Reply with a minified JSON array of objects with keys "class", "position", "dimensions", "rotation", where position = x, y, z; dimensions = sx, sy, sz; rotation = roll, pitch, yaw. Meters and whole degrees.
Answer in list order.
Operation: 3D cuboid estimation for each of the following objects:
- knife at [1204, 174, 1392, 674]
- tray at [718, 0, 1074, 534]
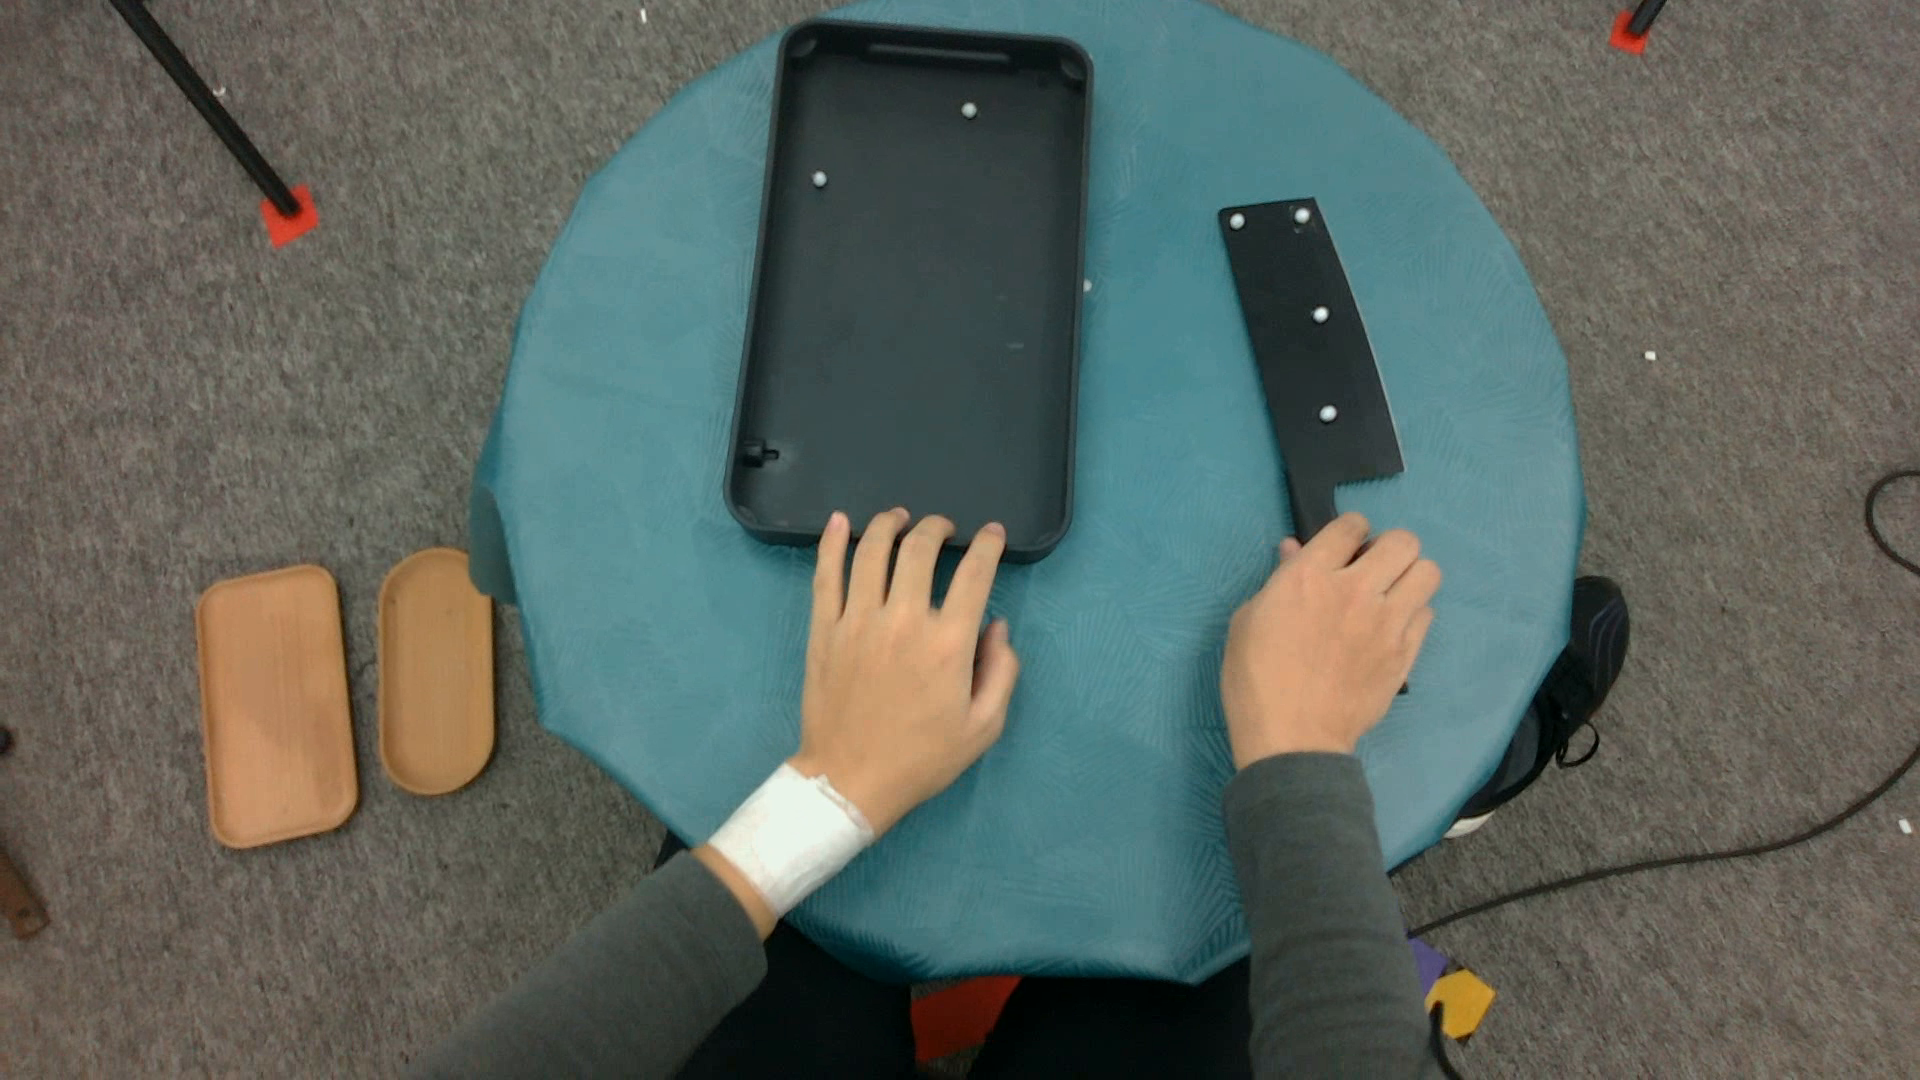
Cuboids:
[{"class":"knife","position":[0.196,-0.073,0.764],"dimensions":[0.081,0.021,0.303],"rotation":[-4,71,-5]},{"class":"tray","position":[-0.030,-0.159,0.769],"dimensions":[0.184,0.037,0.319],"rotation":[2,73,-2]}]
